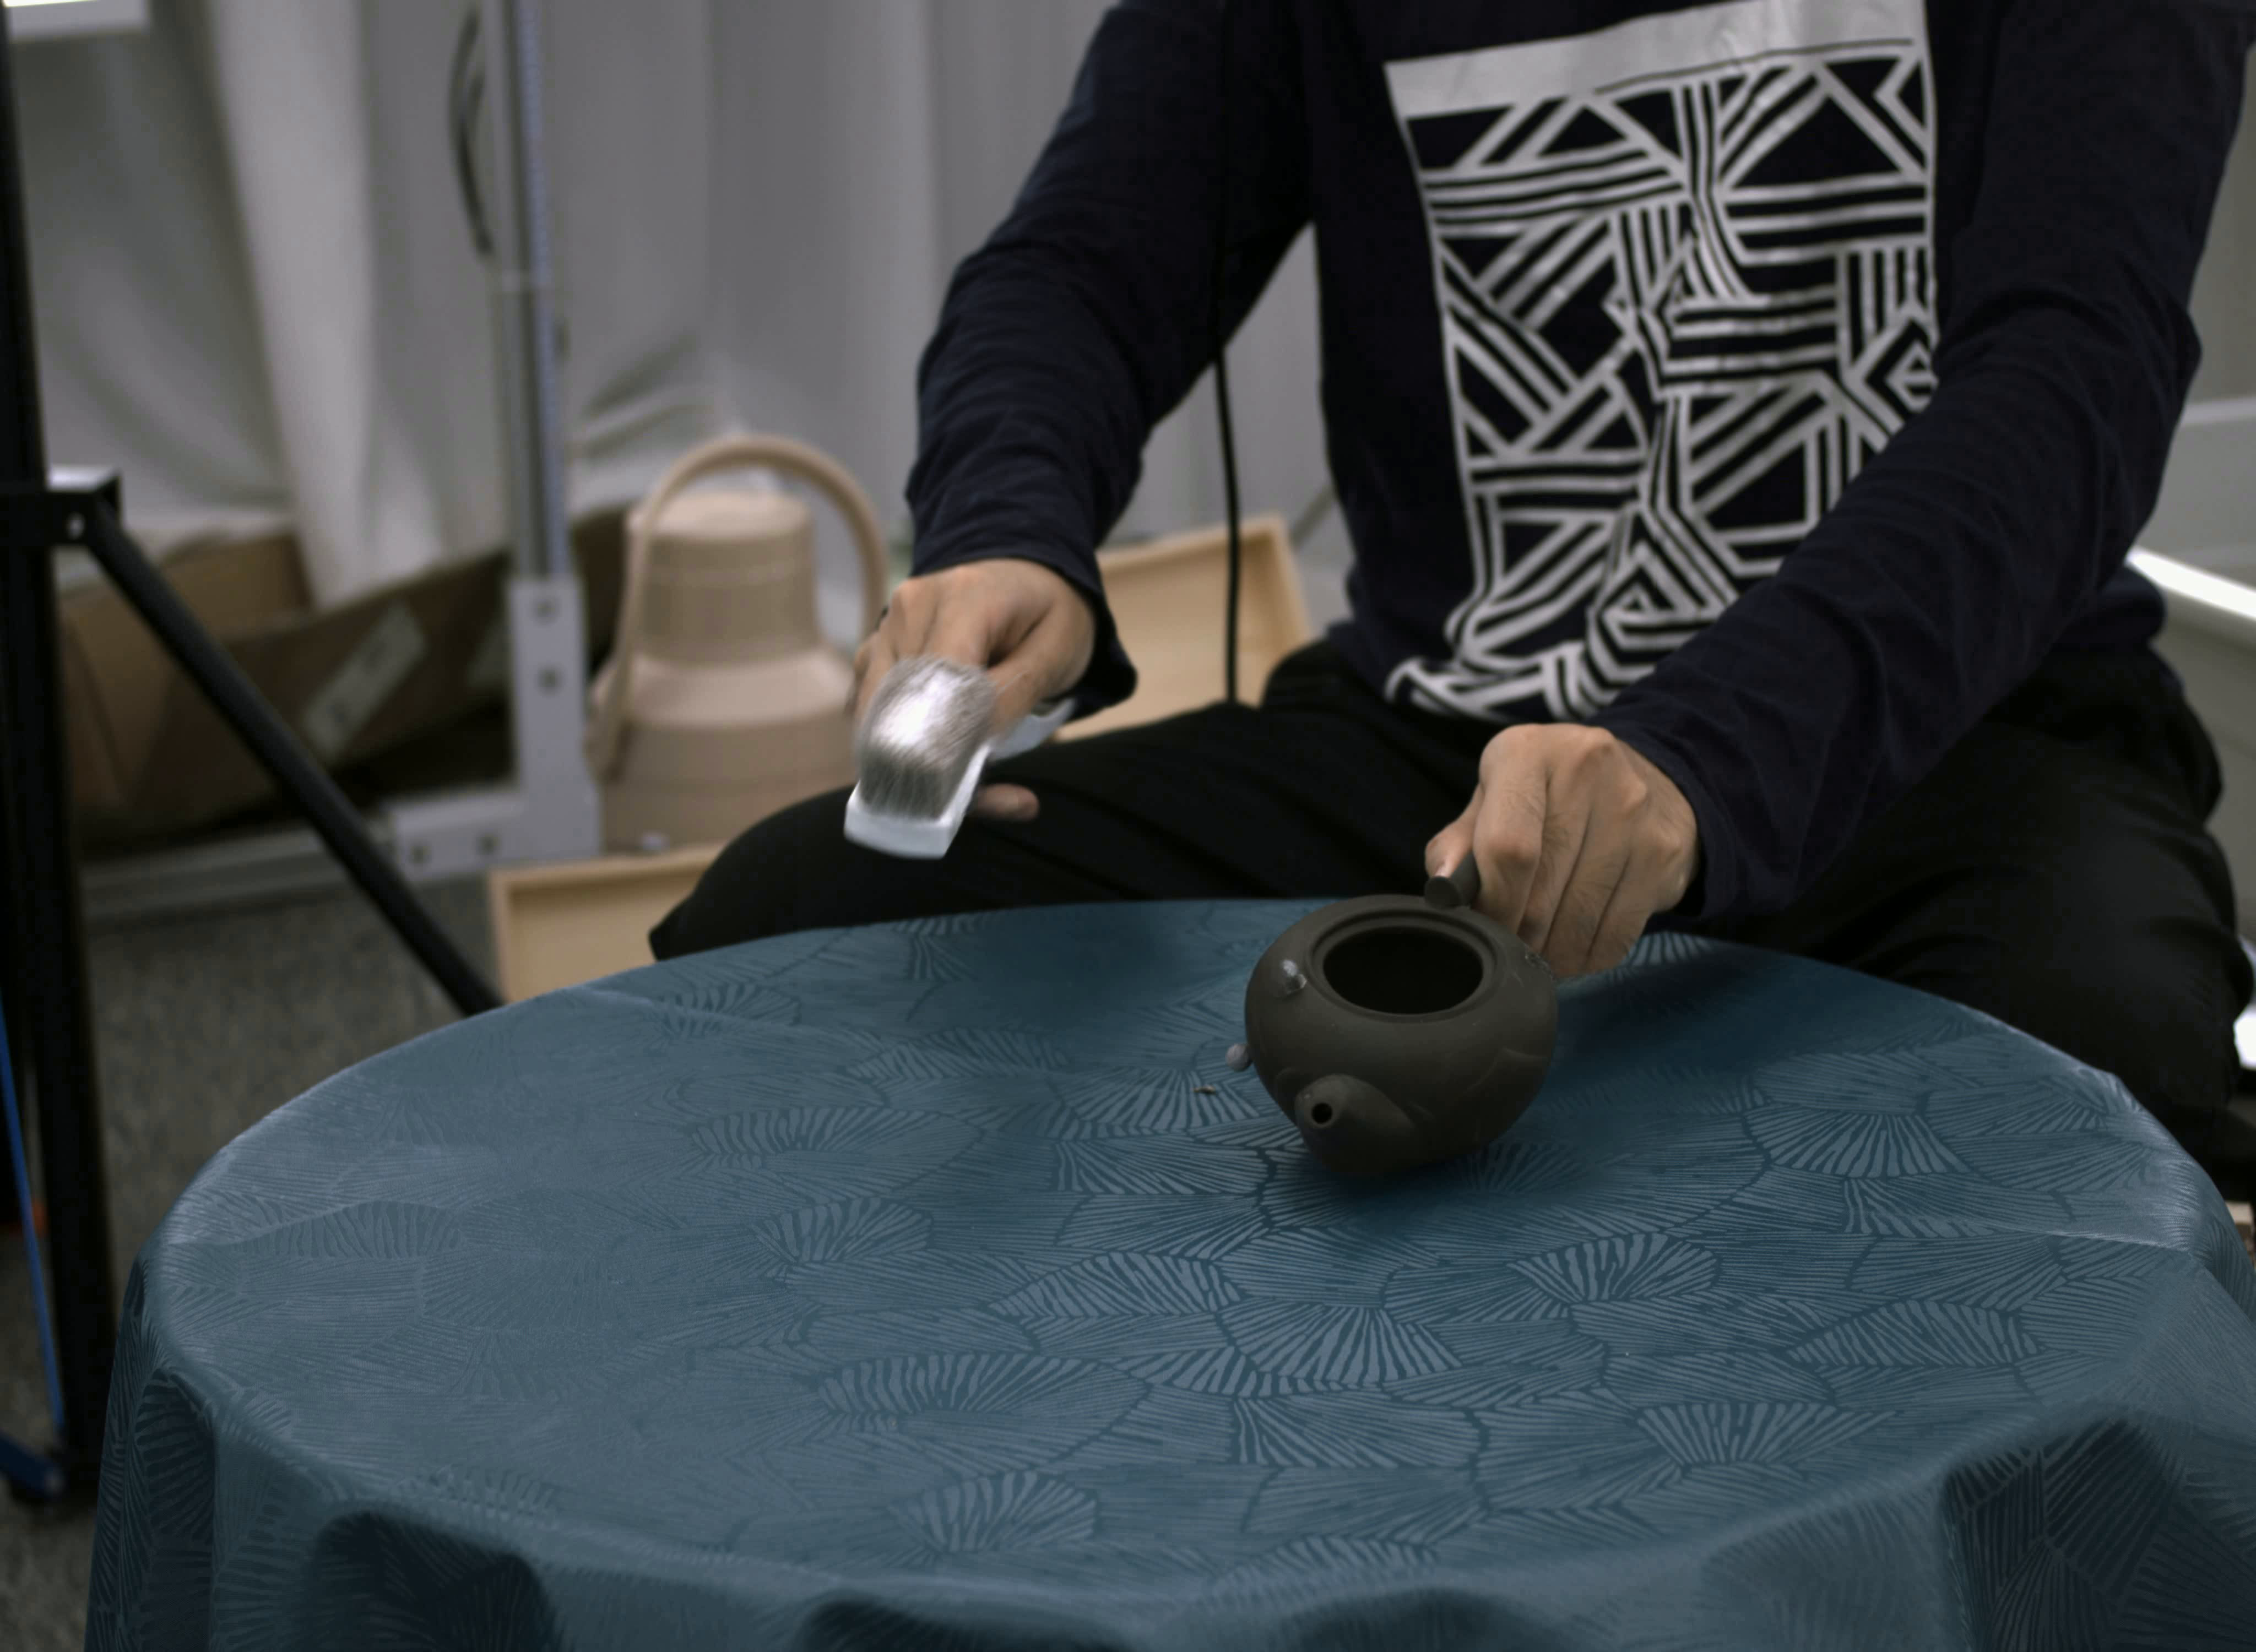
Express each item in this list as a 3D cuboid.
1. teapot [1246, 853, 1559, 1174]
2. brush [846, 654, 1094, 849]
[{"bbox_3d":[0.083,0.060,1.580,0.093,0.064,0.153,14,37,20],"label":"teapot"},{"bbox_3d":[-0.044,-0.040,1.711,0.034,0.050,0.241,13,14,10],"label":"brush"}]
